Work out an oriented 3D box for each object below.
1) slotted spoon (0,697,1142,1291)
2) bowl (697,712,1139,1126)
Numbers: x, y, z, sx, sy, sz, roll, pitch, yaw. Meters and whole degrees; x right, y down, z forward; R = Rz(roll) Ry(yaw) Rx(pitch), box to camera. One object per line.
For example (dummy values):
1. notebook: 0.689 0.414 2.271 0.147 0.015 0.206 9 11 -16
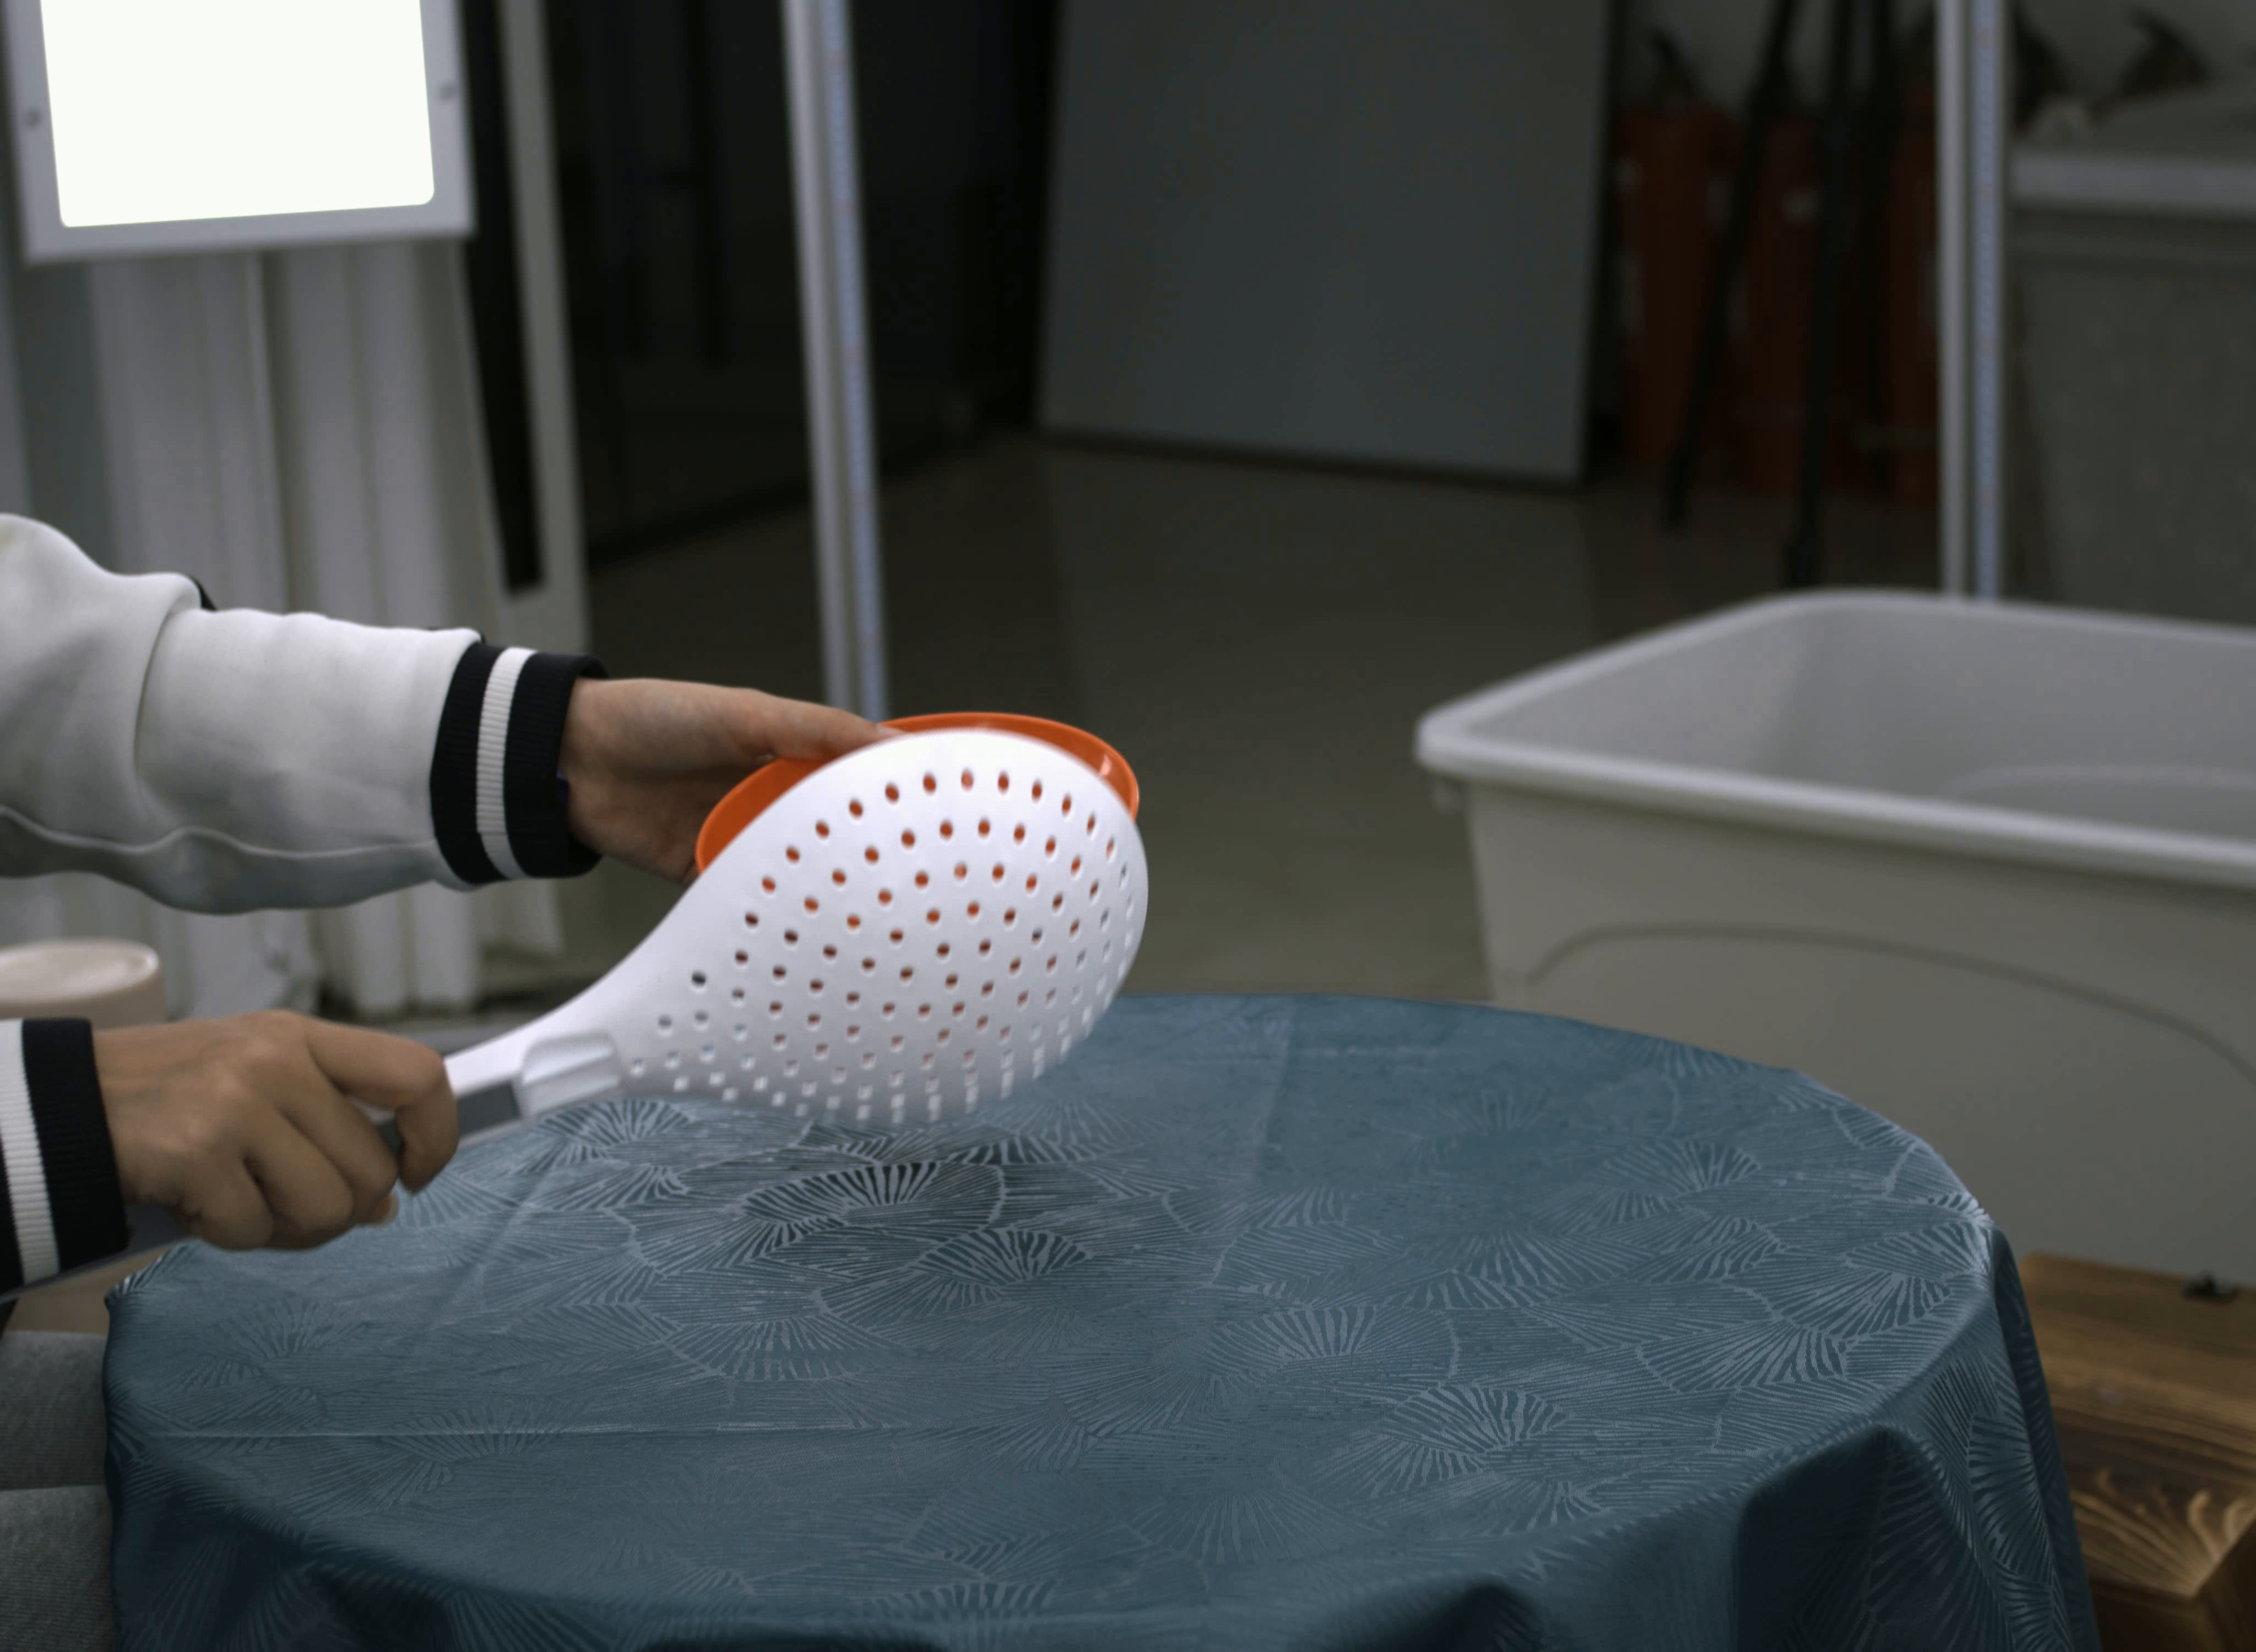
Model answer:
1. slotted spoon: -0.157 0.058 1.506 0.345 0.136 0.046 -16 46 -2
2. bowl: -0.069 0.036 1.792 0.146 0.105 0.148 0 24 -1
